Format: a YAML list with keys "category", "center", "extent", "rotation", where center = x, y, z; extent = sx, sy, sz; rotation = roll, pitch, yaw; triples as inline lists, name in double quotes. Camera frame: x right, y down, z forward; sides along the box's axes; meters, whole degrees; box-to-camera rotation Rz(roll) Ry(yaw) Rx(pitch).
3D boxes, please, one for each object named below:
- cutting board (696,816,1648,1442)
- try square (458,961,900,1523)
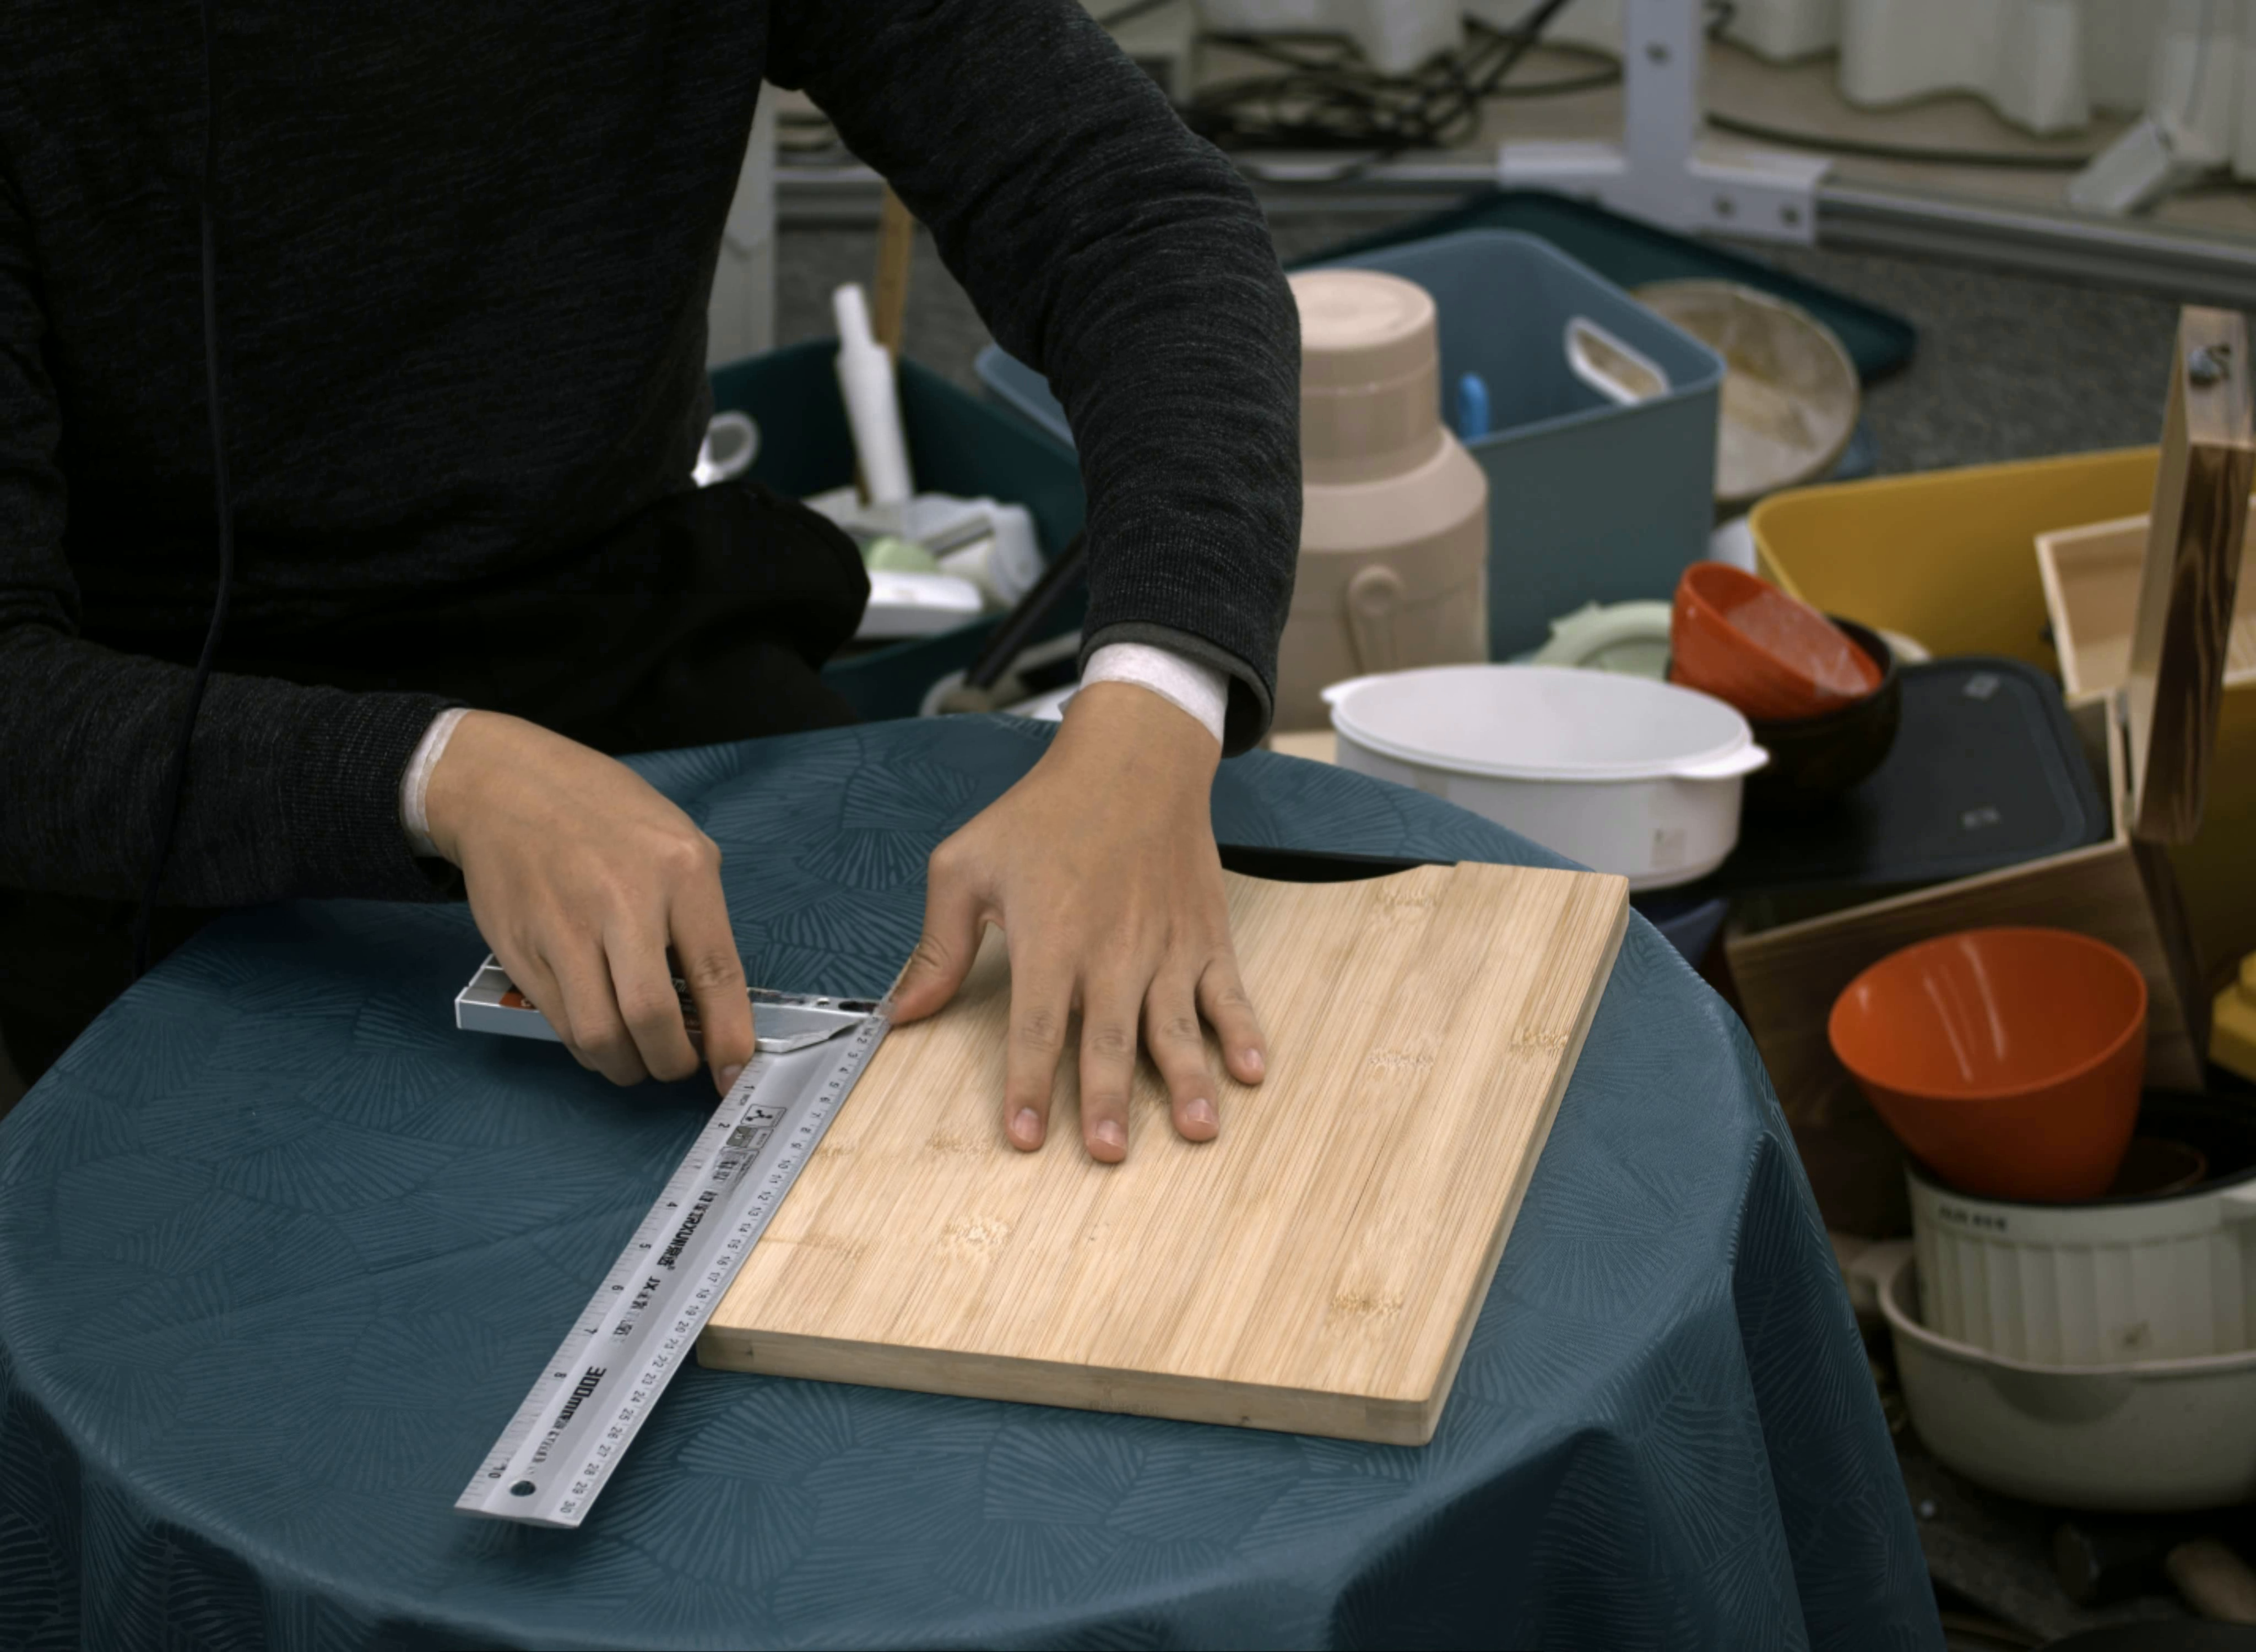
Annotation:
- category: "cutting board"
  center: [0.023, 0.093, 1.896]
  extent: [0.249, 0.023, 0.355]
  rotation: [5, 29, 13]
- category: "try square"
  center: [-0.192, 0.130, 1.823]
  extent: [0.151, 0.016, 0.318]
  rotation: [5, 28, 15]
